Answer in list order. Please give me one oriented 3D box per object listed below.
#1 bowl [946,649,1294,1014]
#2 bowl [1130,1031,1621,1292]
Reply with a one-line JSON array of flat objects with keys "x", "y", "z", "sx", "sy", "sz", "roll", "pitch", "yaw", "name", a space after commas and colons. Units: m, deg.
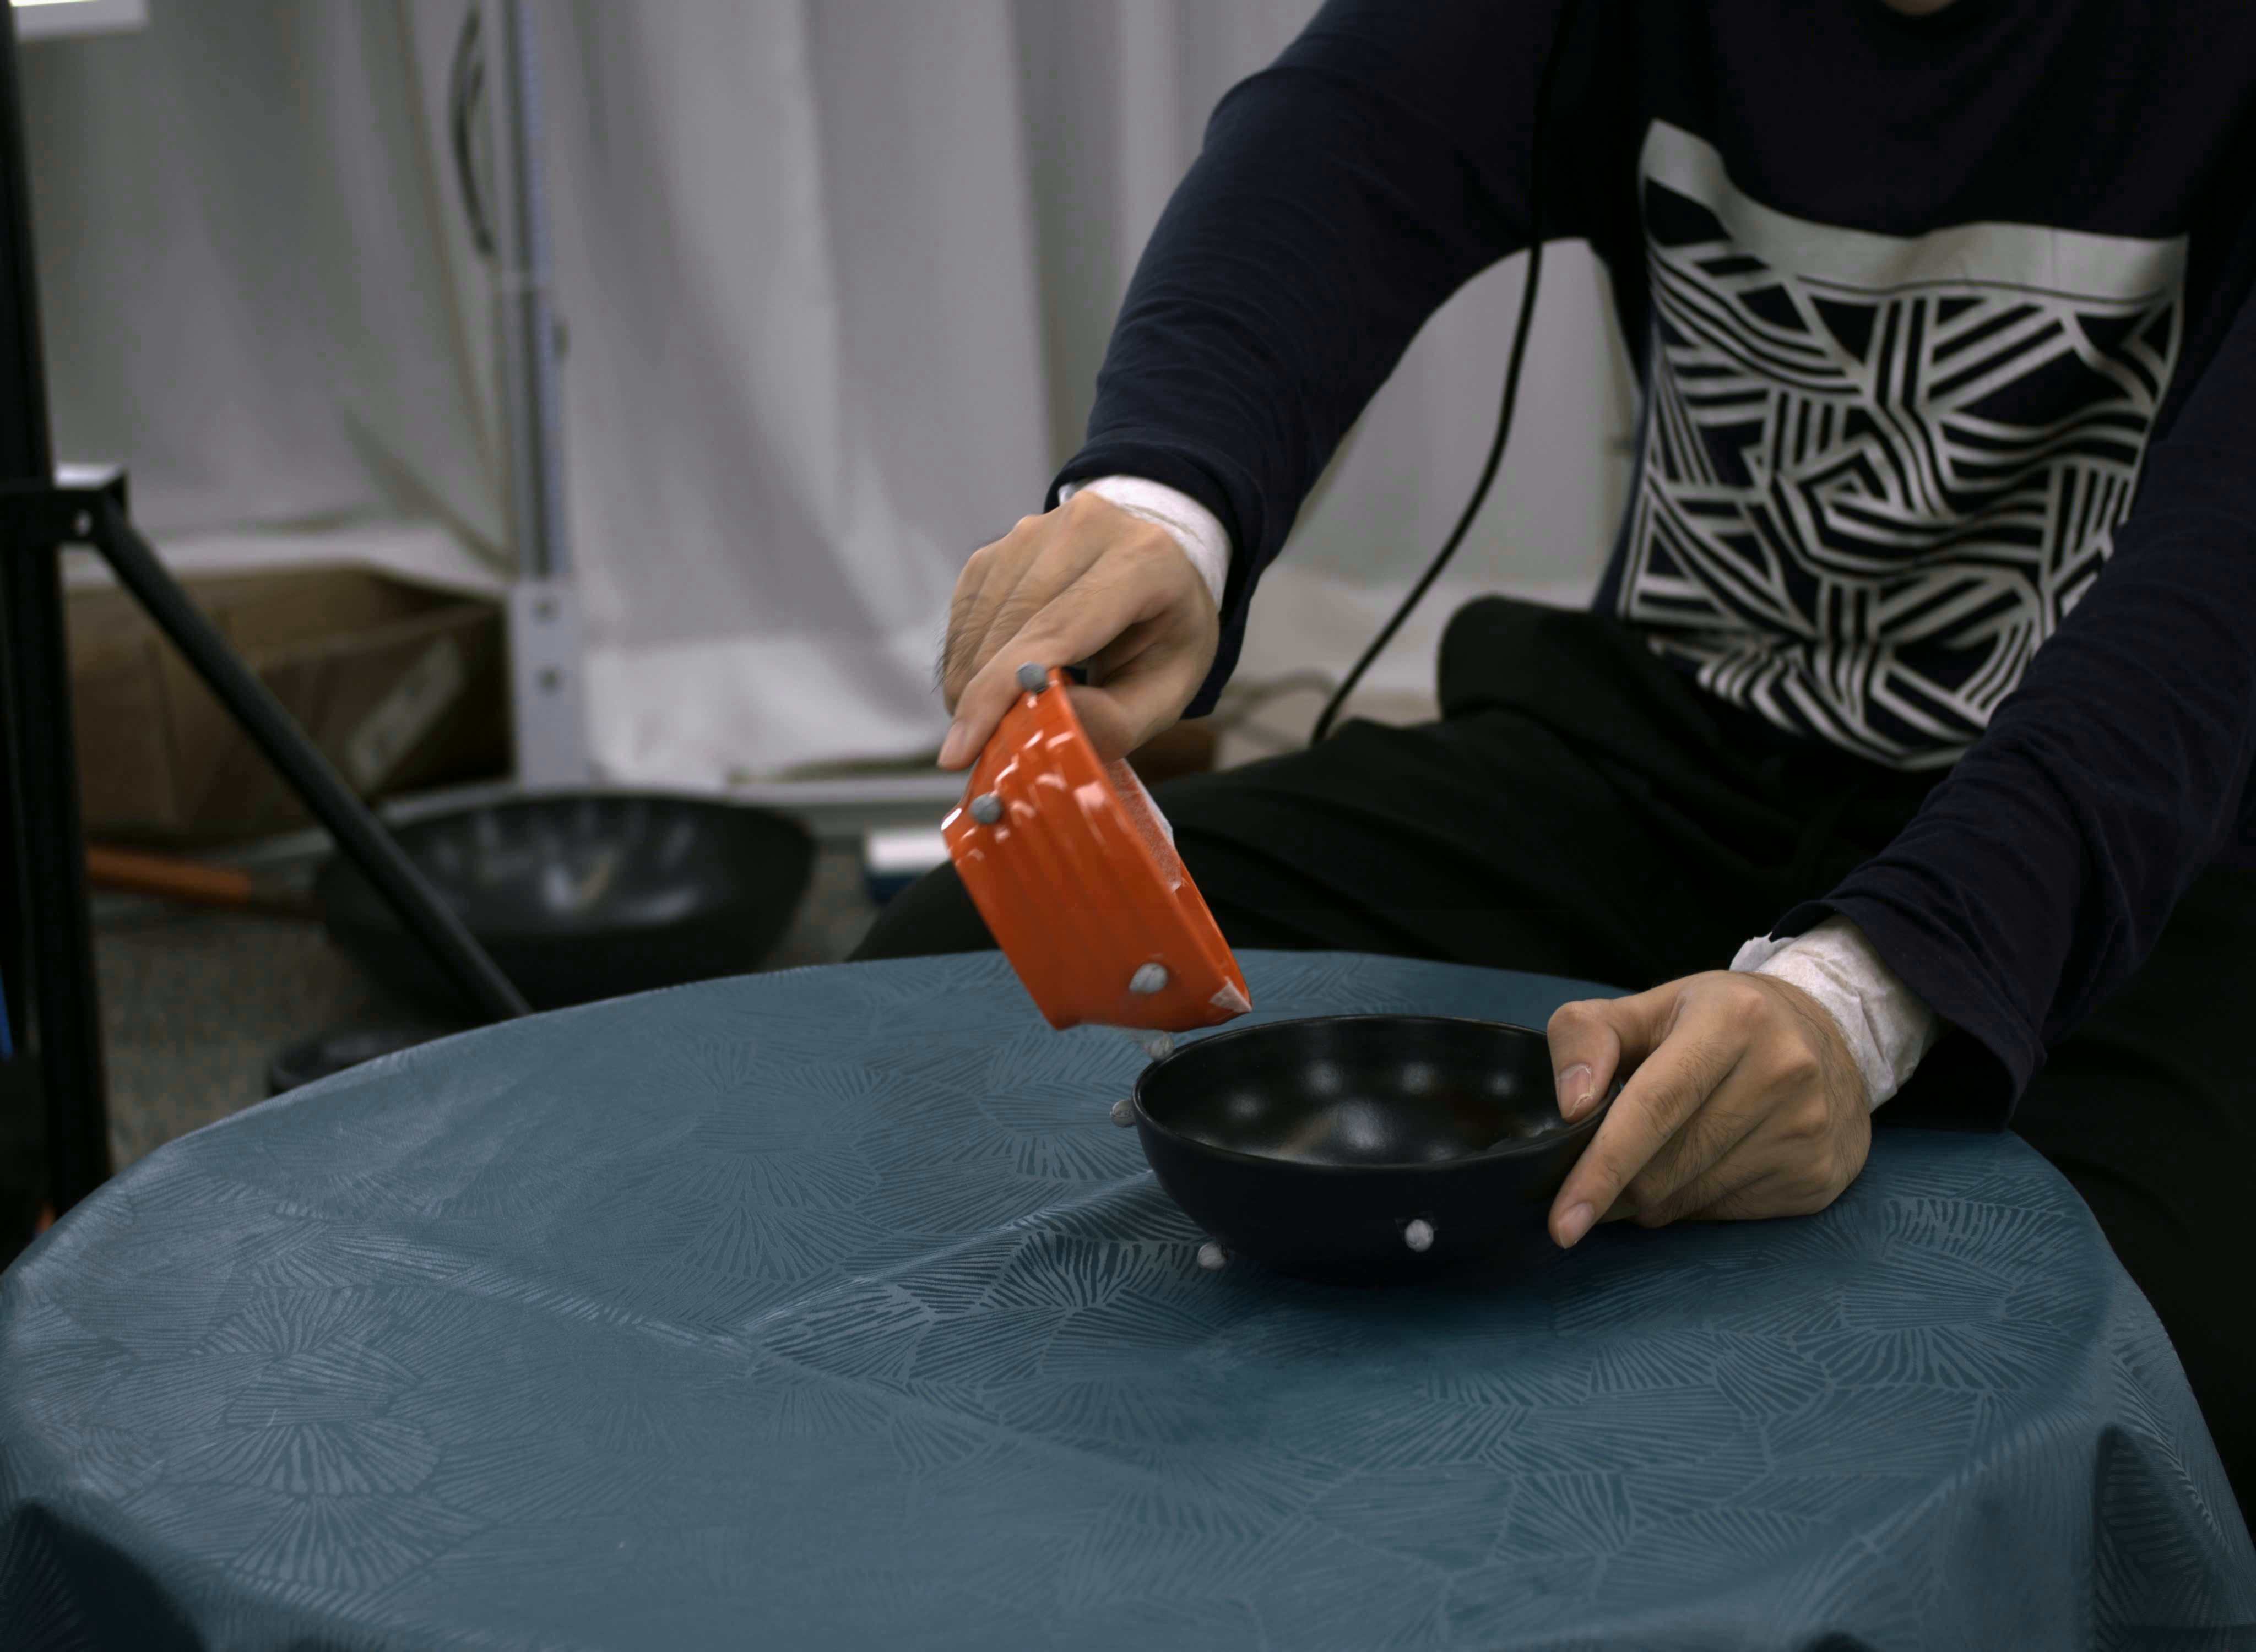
[{"x": -0.008, "y": 0.010, "z": 1.472, "sx": 0.051, "sy": 0.118, "sz": 0.119, "roll": -38, "pitch": 9, "yaw": 14, "name": "bowl"}, {"x": 0.070, "y": 0.099, "z": 1.501, "sx": 0.139, "sy": 0.050, "sz": 0.140, "roll": 0, "pitch": 12, "yaw": -1, "name": "bowl"}]
